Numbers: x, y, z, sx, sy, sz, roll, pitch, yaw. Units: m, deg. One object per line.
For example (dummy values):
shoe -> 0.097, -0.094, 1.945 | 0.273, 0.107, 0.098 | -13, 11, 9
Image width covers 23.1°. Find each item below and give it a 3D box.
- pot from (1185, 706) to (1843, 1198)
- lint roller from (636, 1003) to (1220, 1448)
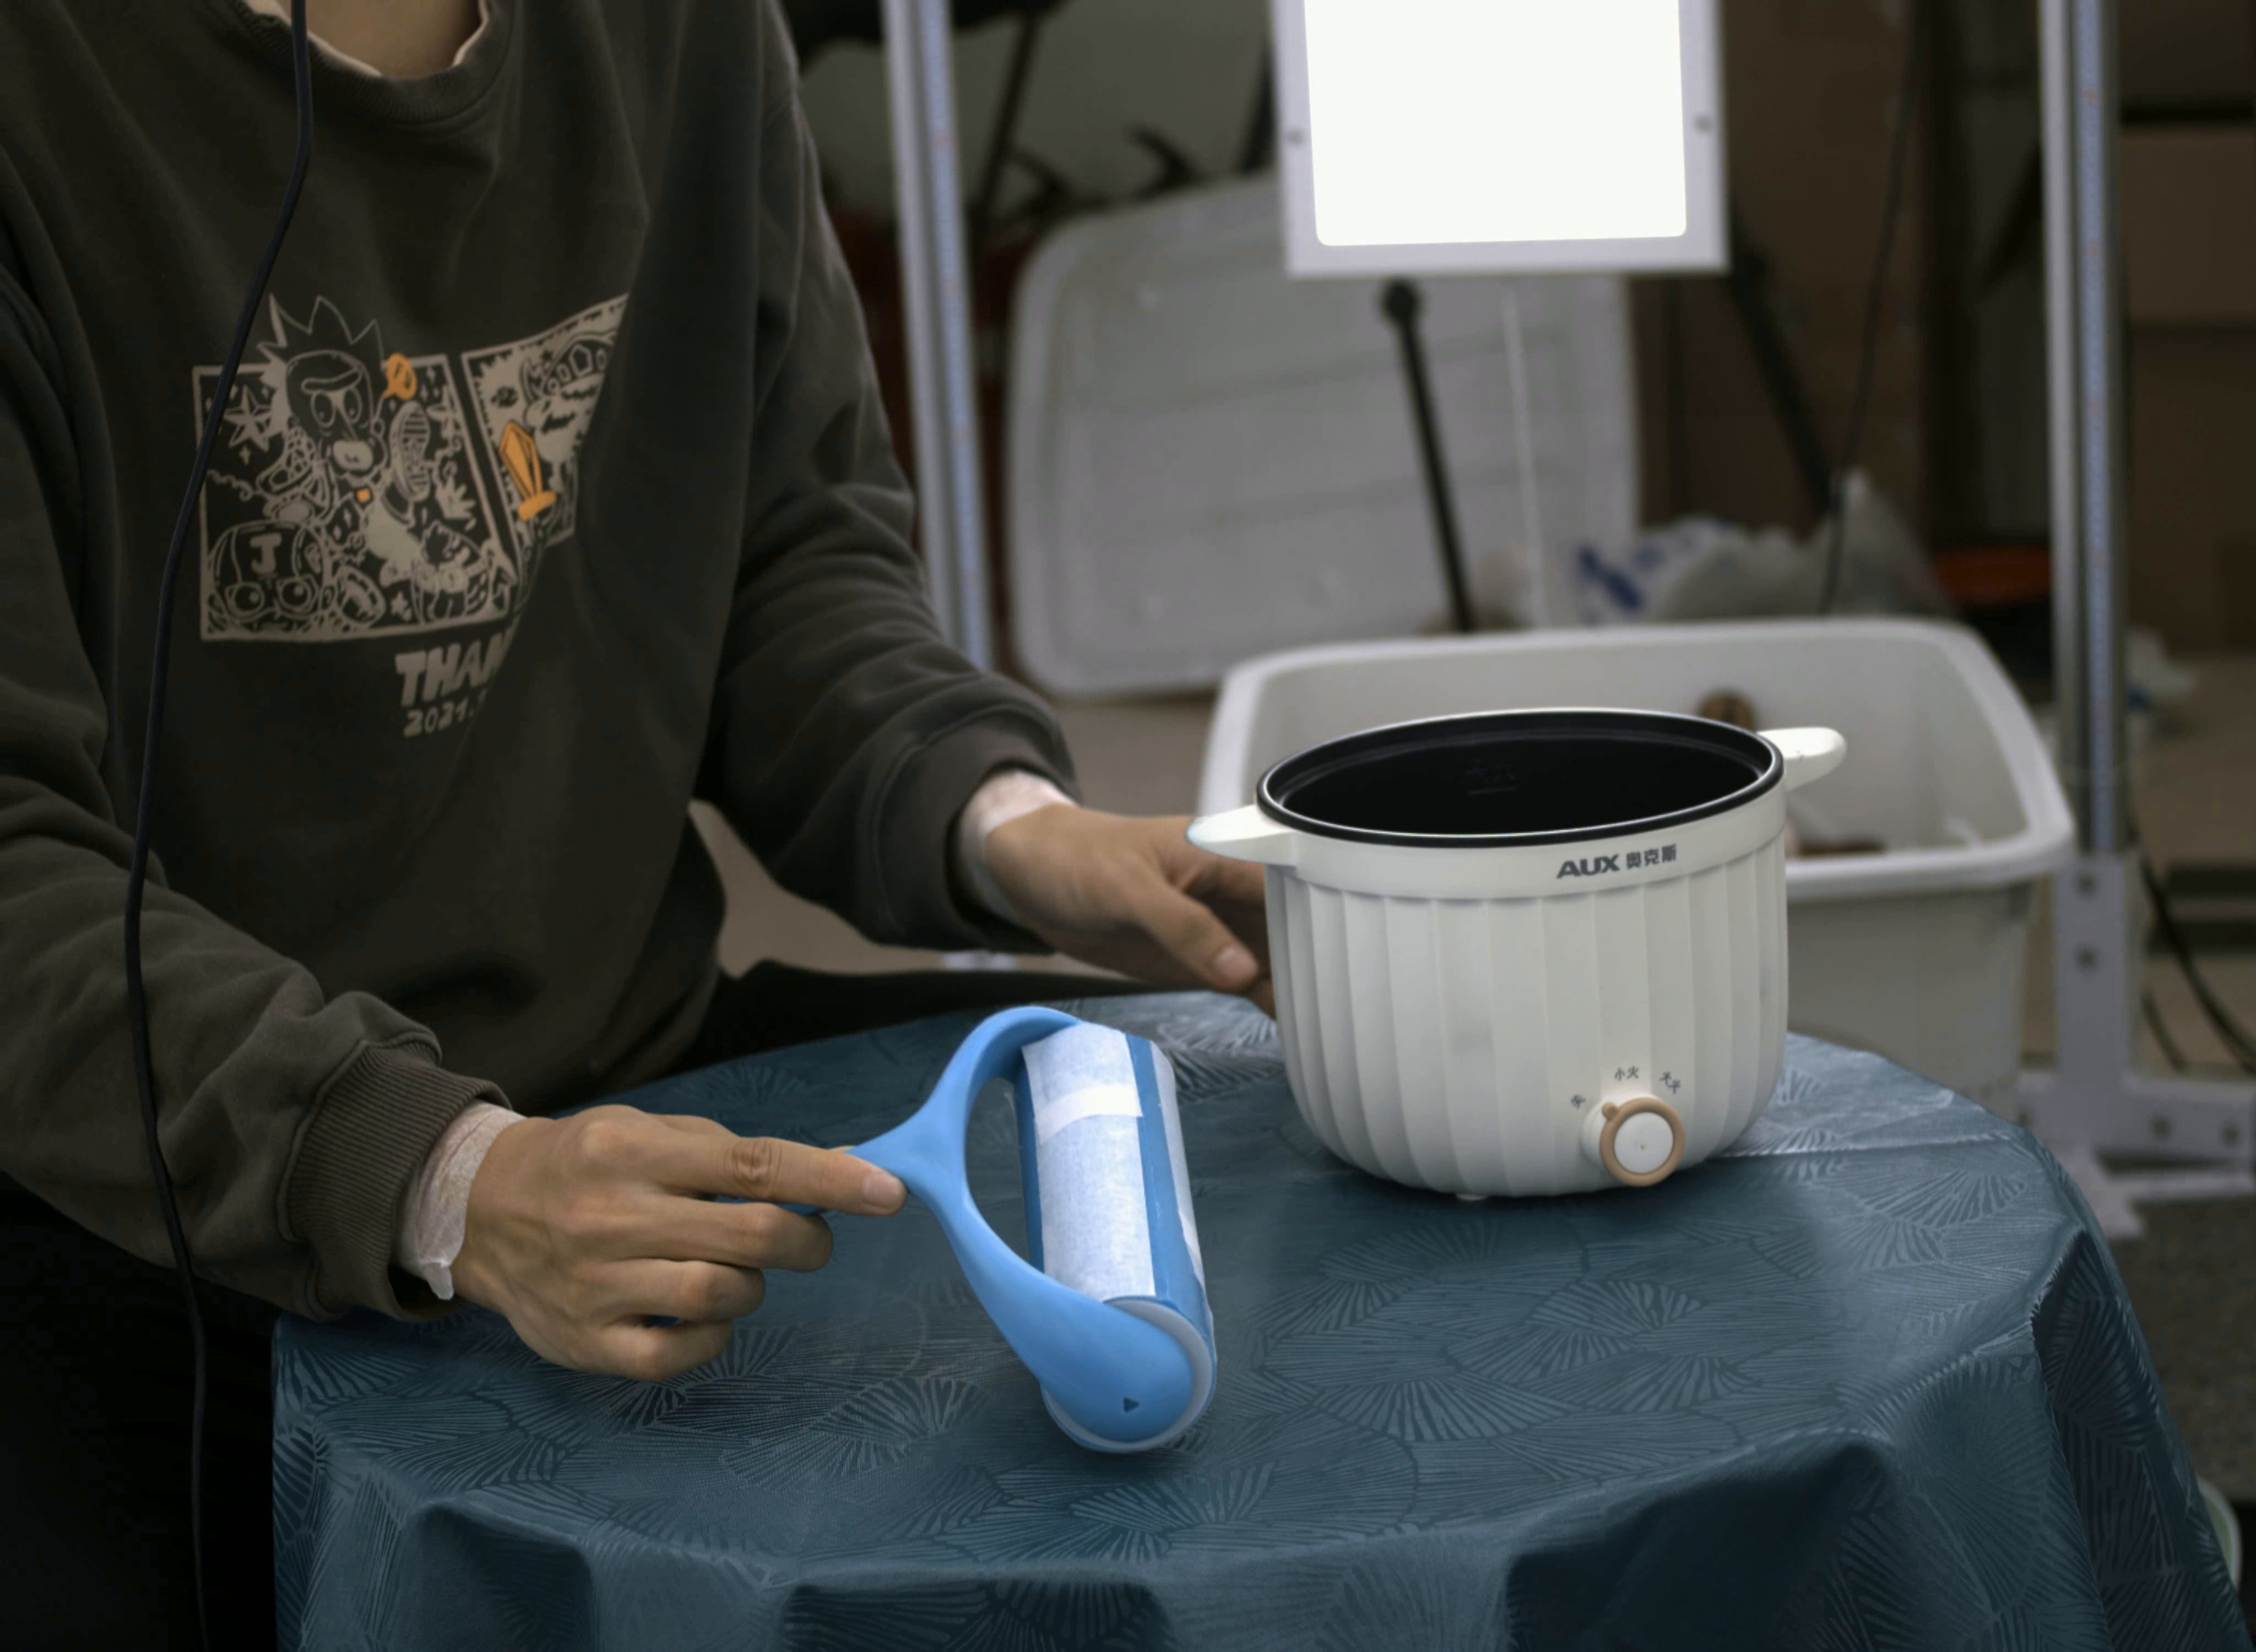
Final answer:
pot -> 0.142, 0.045, 1.884 | 0.237, 0.143, 0.192 | -10, 12, -14
lint roller -> -0.064, 0.125, 1.717 | 0.179, 0.068, 0.229 | -3, 25, -4
